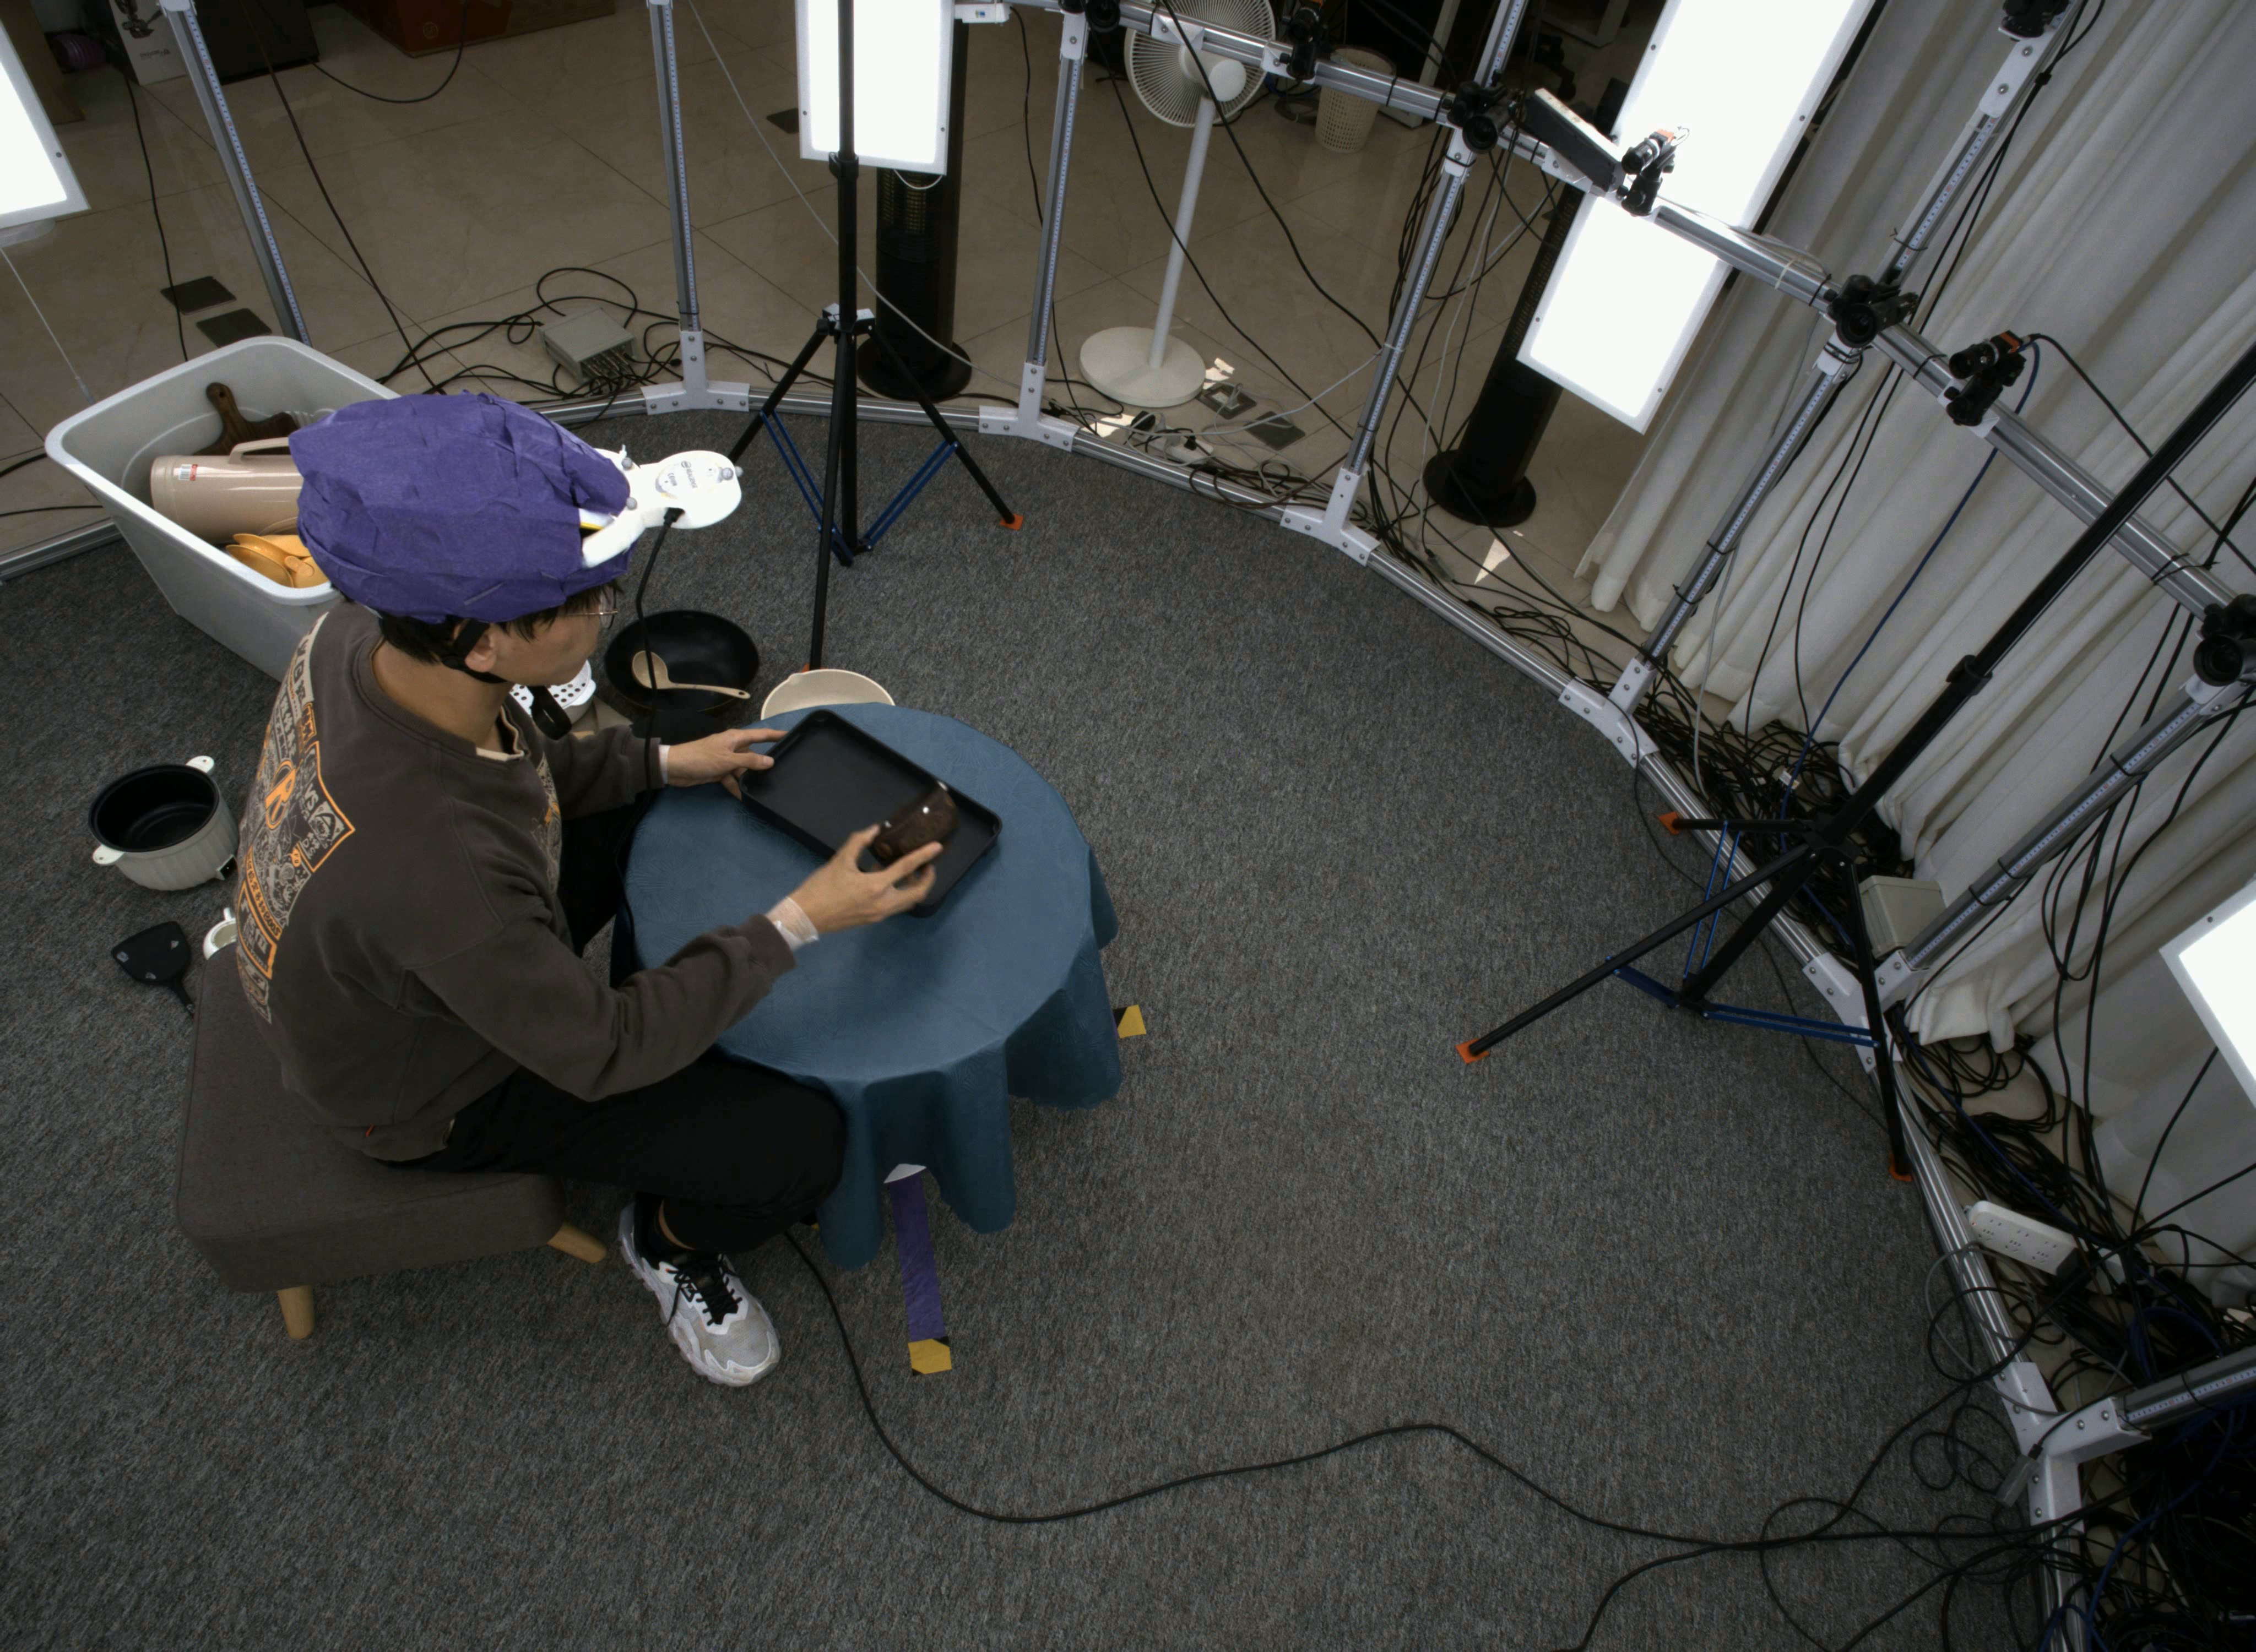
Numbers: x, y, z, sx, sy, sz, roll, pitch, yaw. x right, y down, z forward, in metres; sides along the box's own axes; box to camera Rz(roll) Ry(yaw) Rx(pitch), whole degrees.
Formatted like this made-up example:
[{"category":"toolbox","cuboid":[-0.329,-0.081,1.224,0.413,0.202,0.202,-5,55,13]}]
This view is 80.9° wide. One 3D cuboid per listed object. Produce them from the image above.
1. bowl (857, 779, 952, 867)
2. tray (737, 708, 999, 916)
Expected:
[{"category":"bowl","cuboid":[-0.262,0.004,1.578,0.071,0.115,0.118,53,53,-16]},{"category":"tray","cuboid":[-0.347,-0.023,1.743,0.314,0.037,0.183,31,55,6]}]
